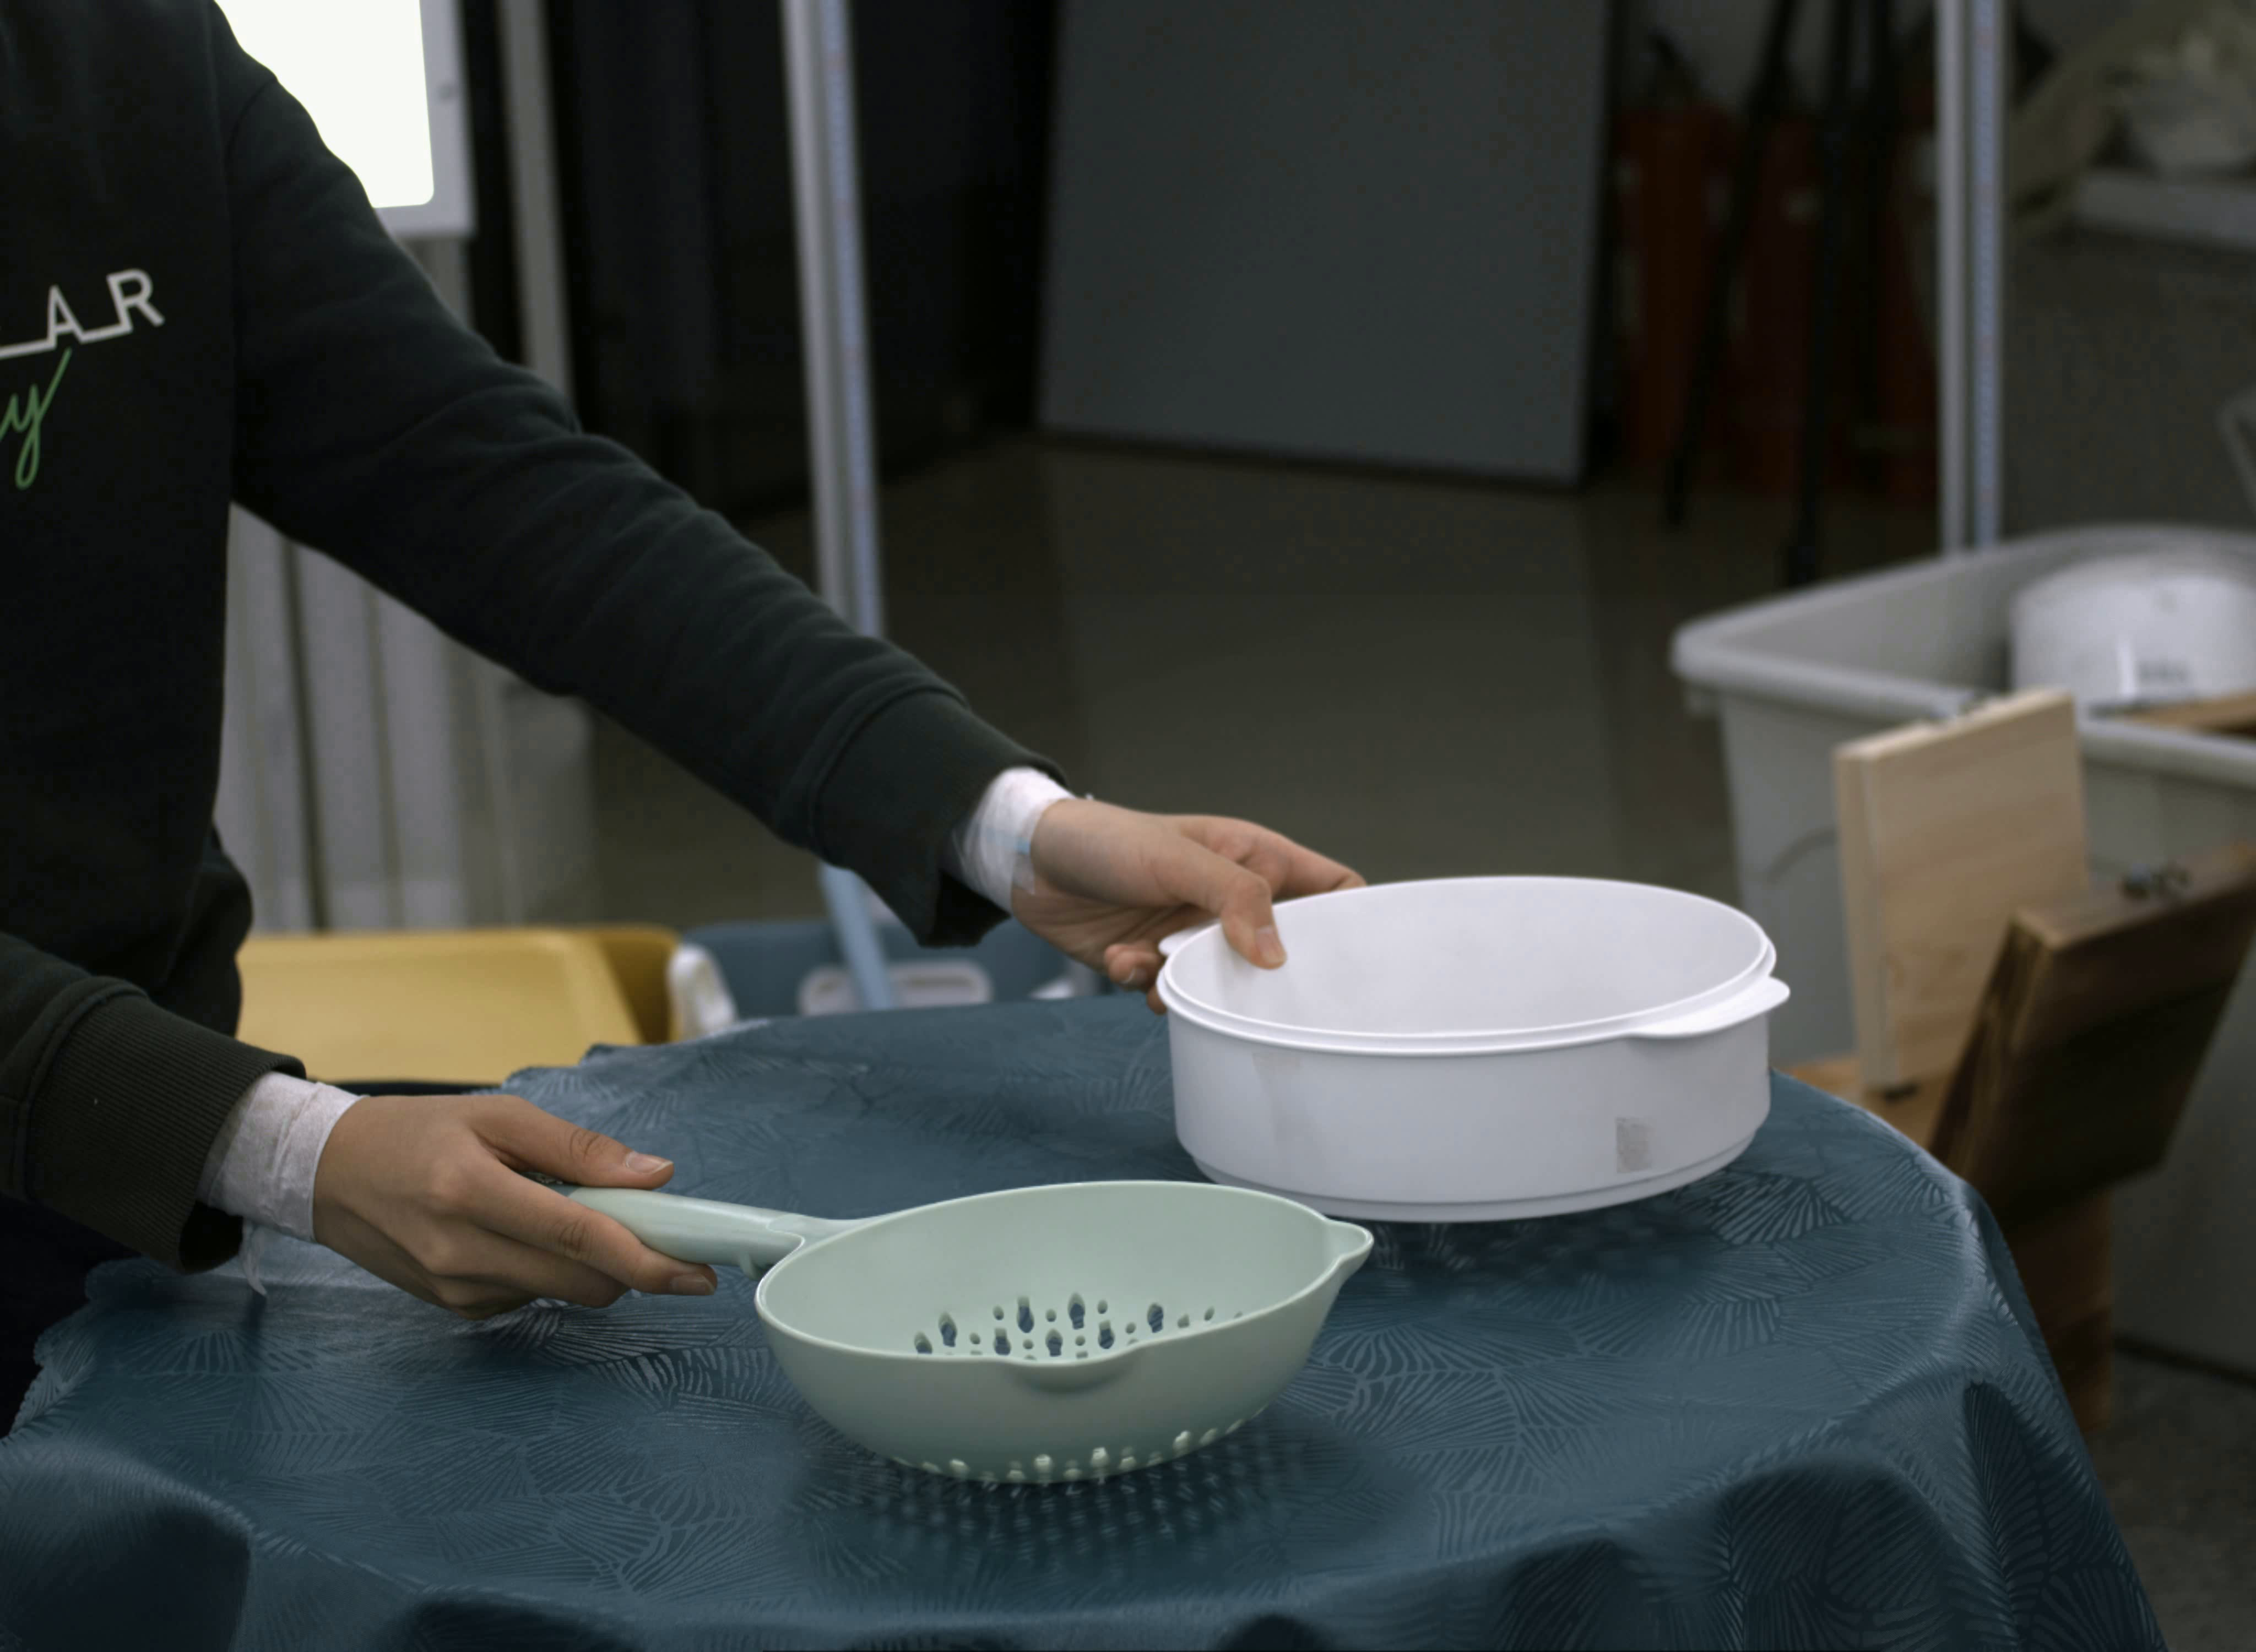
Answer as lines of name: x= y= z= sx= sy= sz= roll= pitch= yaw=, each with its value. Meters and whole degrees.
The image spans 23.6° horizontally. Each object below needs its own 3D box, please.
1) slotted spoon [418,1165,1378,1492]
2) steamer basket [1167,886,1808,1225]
slotted spoon: x=-0.091 y=0.130 z=1.594 sx=0.362 sy=0.076 sz=0.166 roll=15 pitch=22 yaw=41
steamer basket: x=0.114 y=0.073 z=1.732 sx=0.232 sy=0.070 sz=0.198 roll=6 pitch=16 yaw=41
